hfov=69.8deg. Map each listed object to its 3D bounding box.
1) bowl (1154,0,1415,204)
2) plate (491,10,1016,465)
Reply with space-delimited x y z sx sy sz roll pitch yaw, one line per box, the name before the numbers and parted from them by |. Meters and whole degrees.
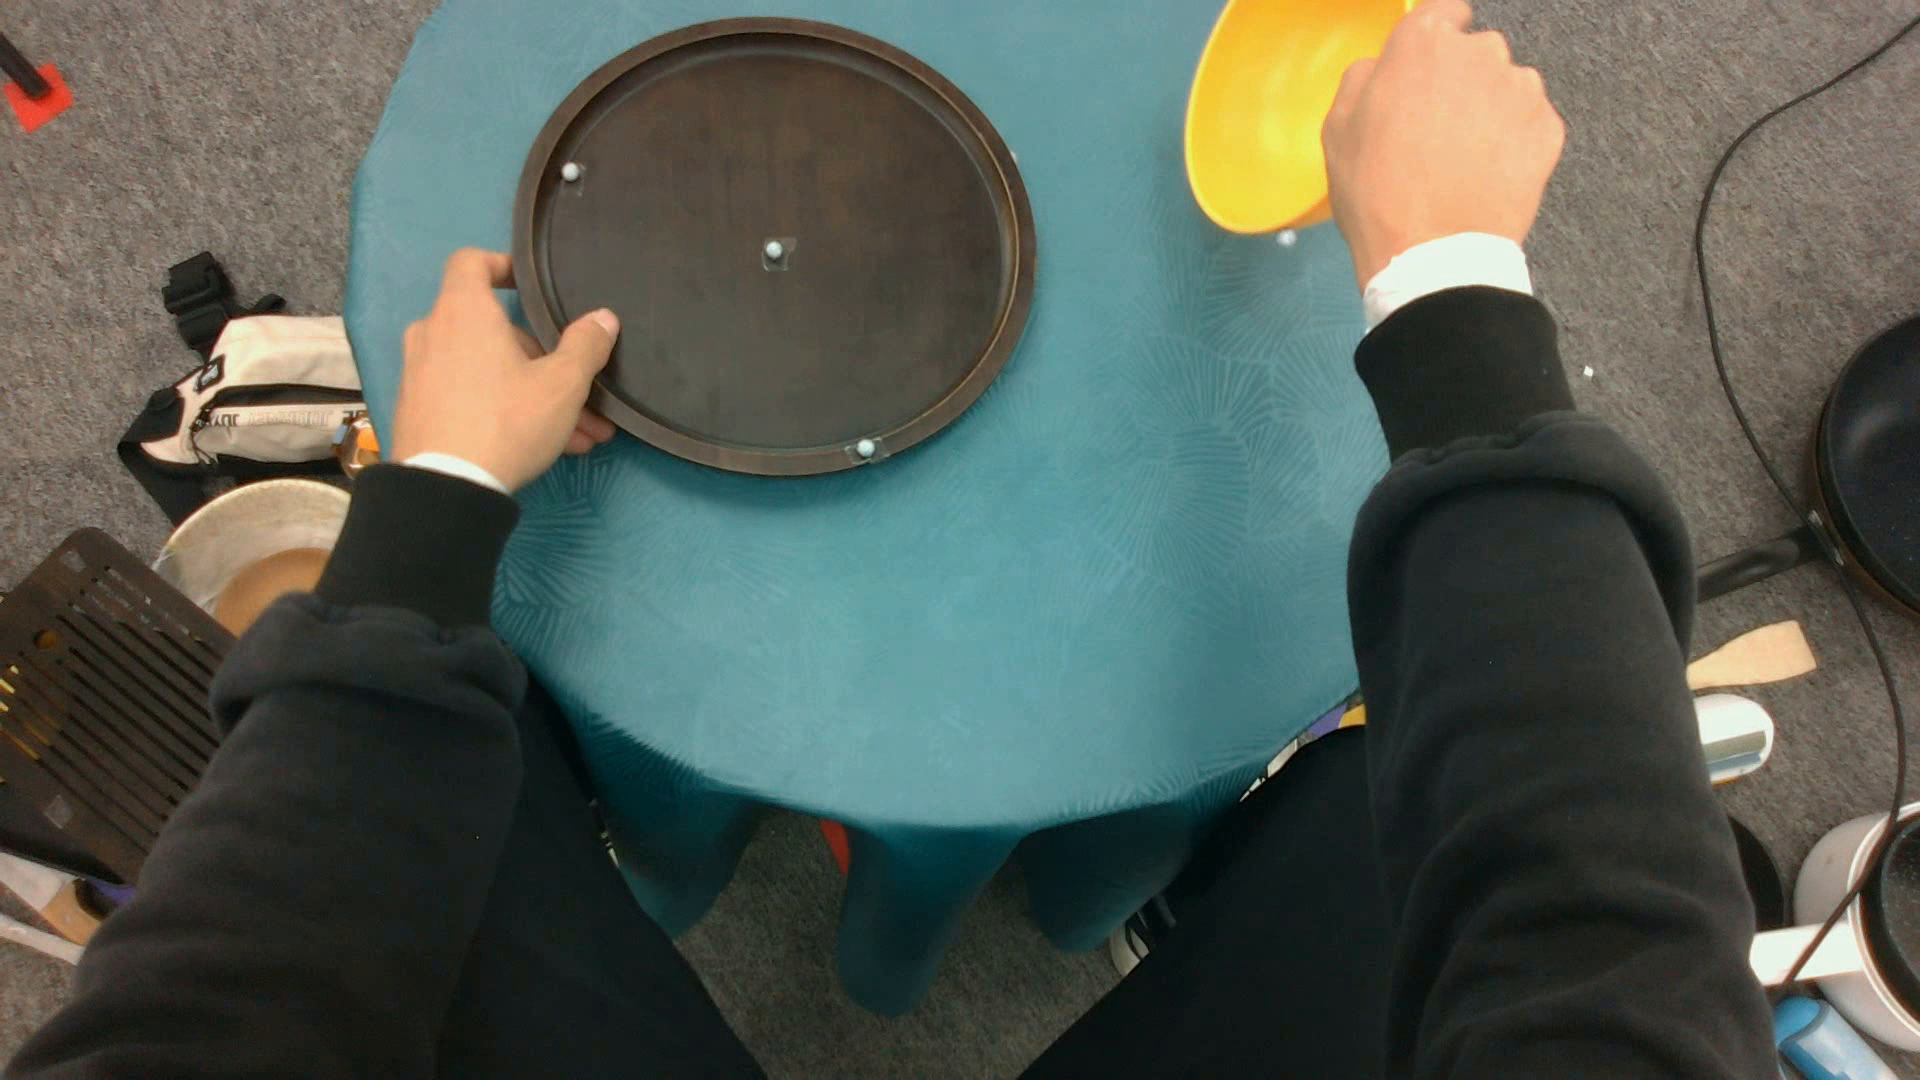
bowl | 0.162 -0.220 0.649 0.060 0.144 0.145 15 68 -34
plate | -0.098 -0.153 0.678 0.255 0.029 0.255 3 72 -9
